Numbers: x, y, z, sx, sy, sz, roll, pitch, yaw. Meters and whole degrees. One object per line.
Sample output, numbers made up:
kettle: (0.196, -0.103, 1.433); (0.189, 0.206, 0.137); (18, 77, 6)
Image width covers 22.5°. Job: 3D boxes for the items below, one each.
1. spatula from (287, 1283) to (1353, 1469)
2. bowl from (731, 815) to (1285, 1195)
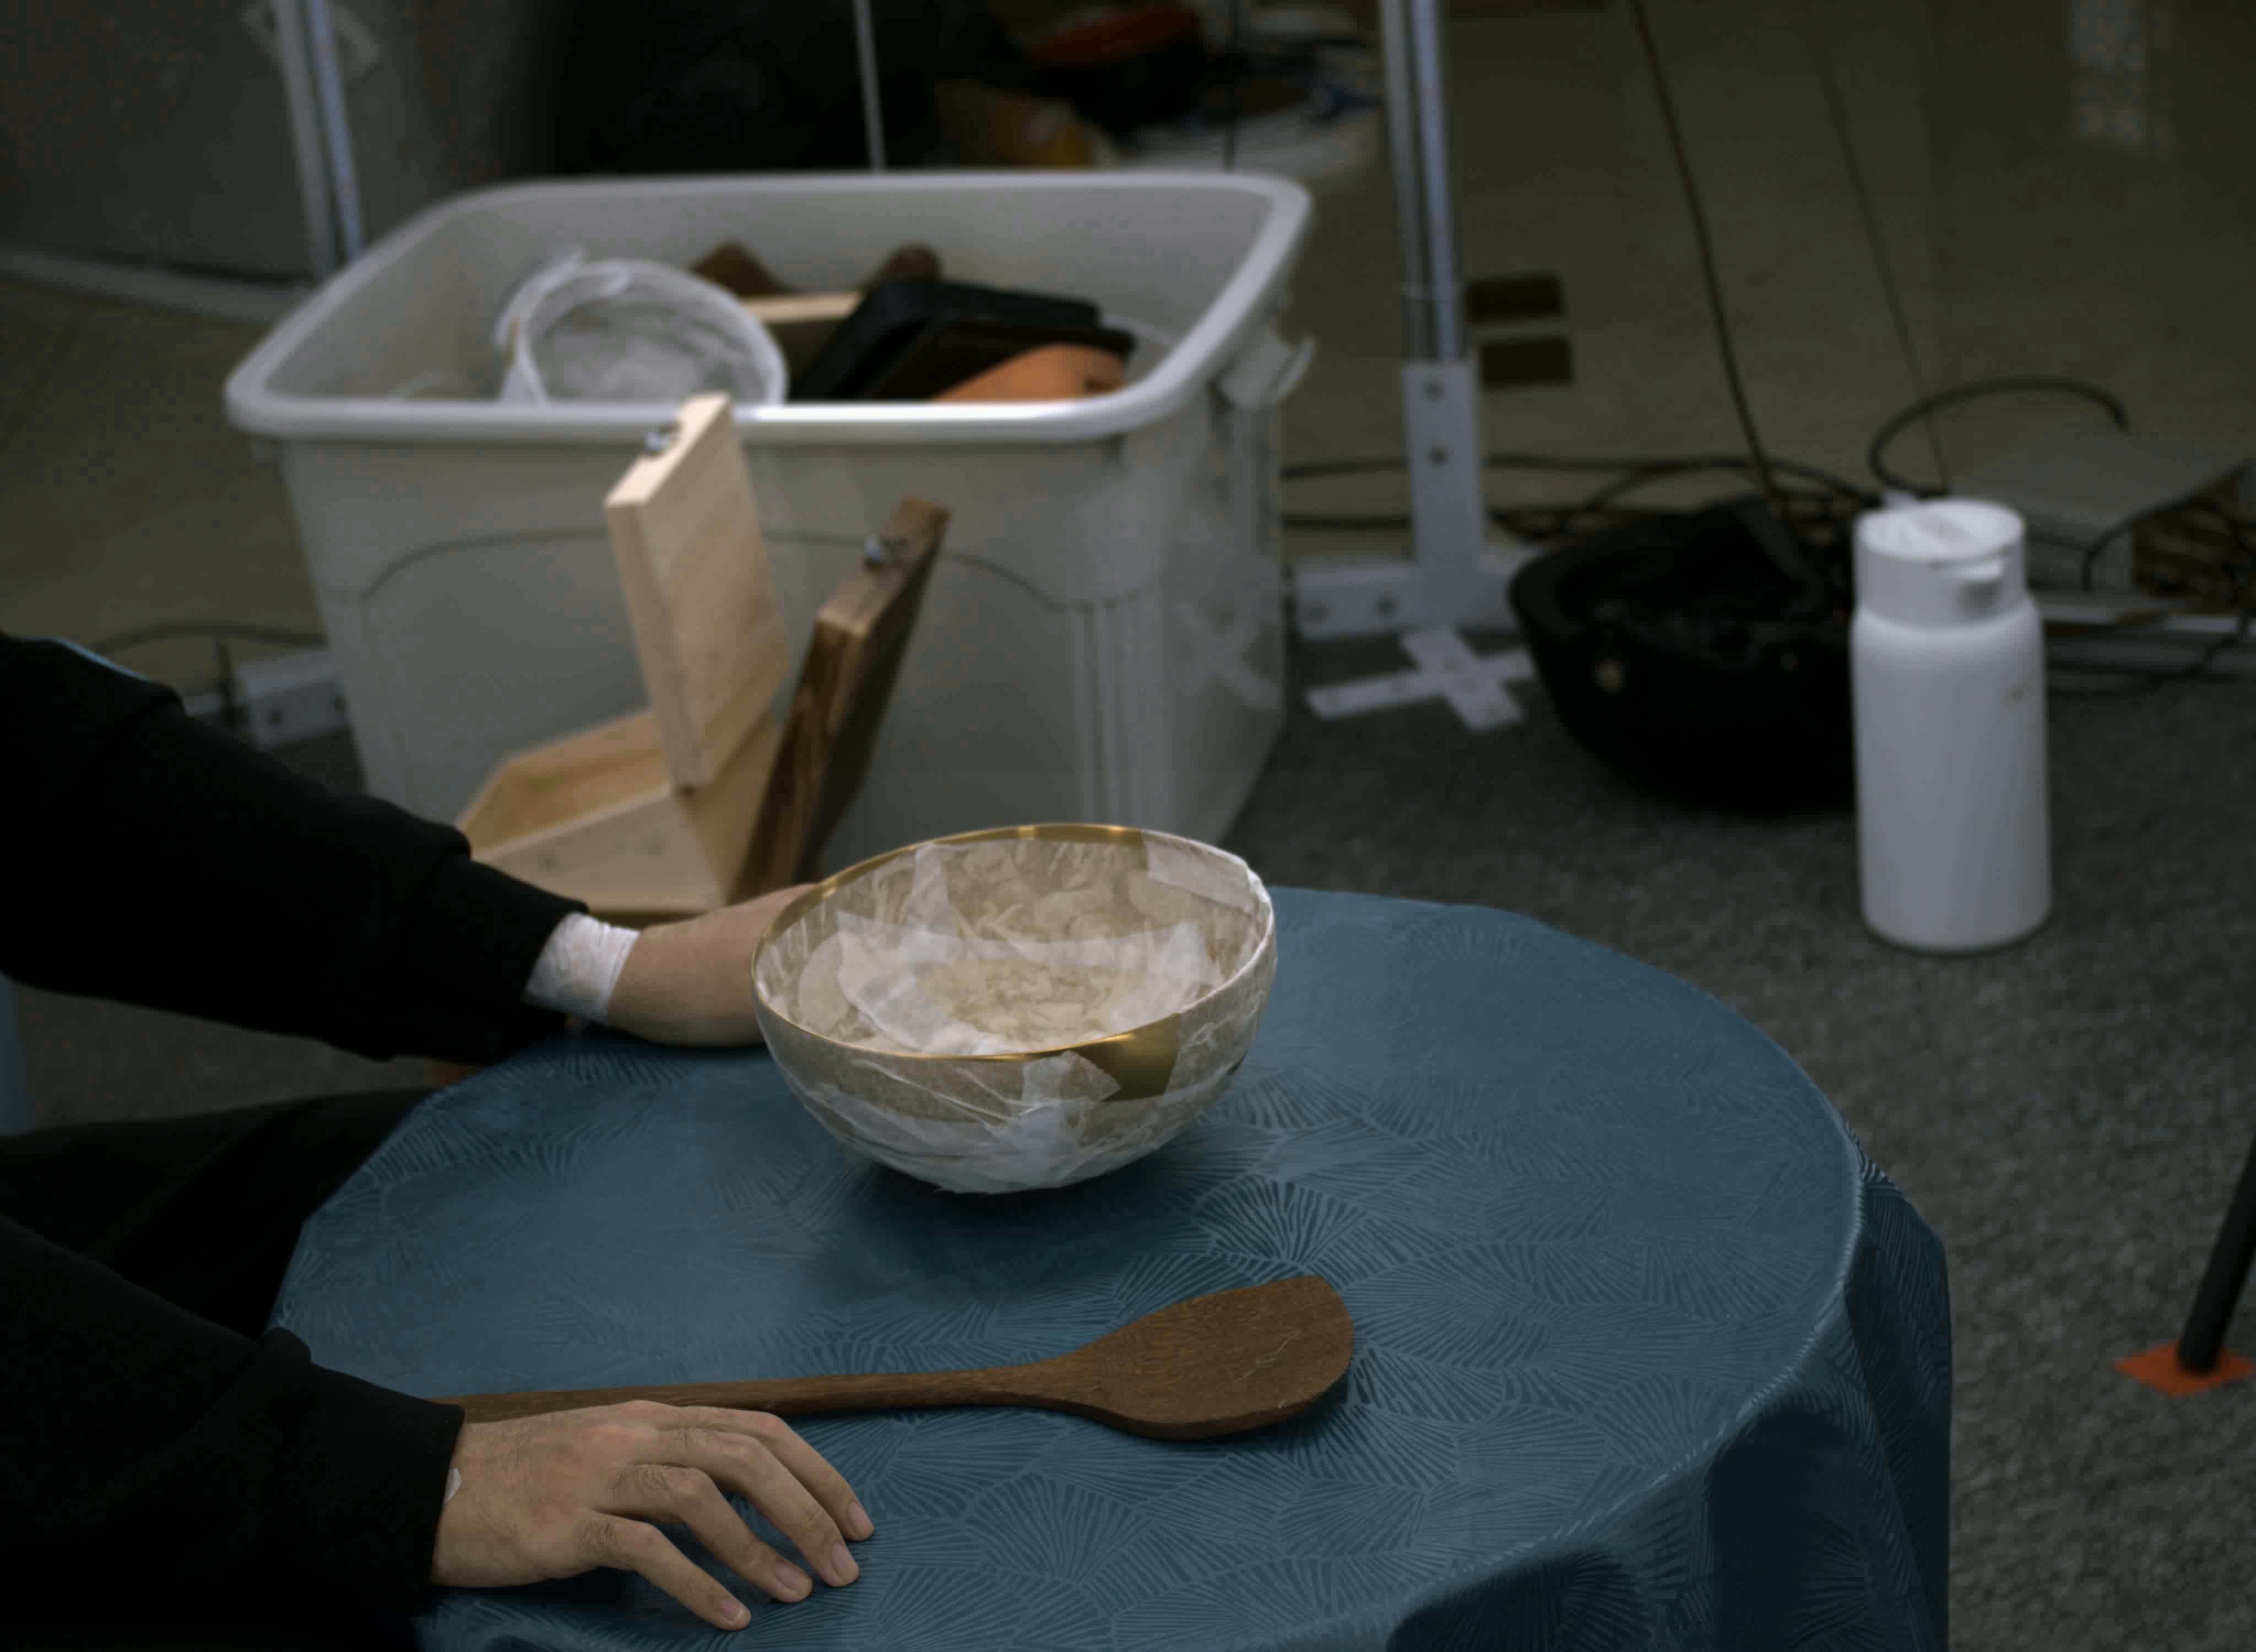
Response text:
spatula: (-0.111, 0.204, 2.026); (0.385, 0.016, 0.095); (-5, 24, 4)
bowl: (-0.041, 0.081, 2.176); (0.214, 0.096, 0.211); (-6, 27, 3)
